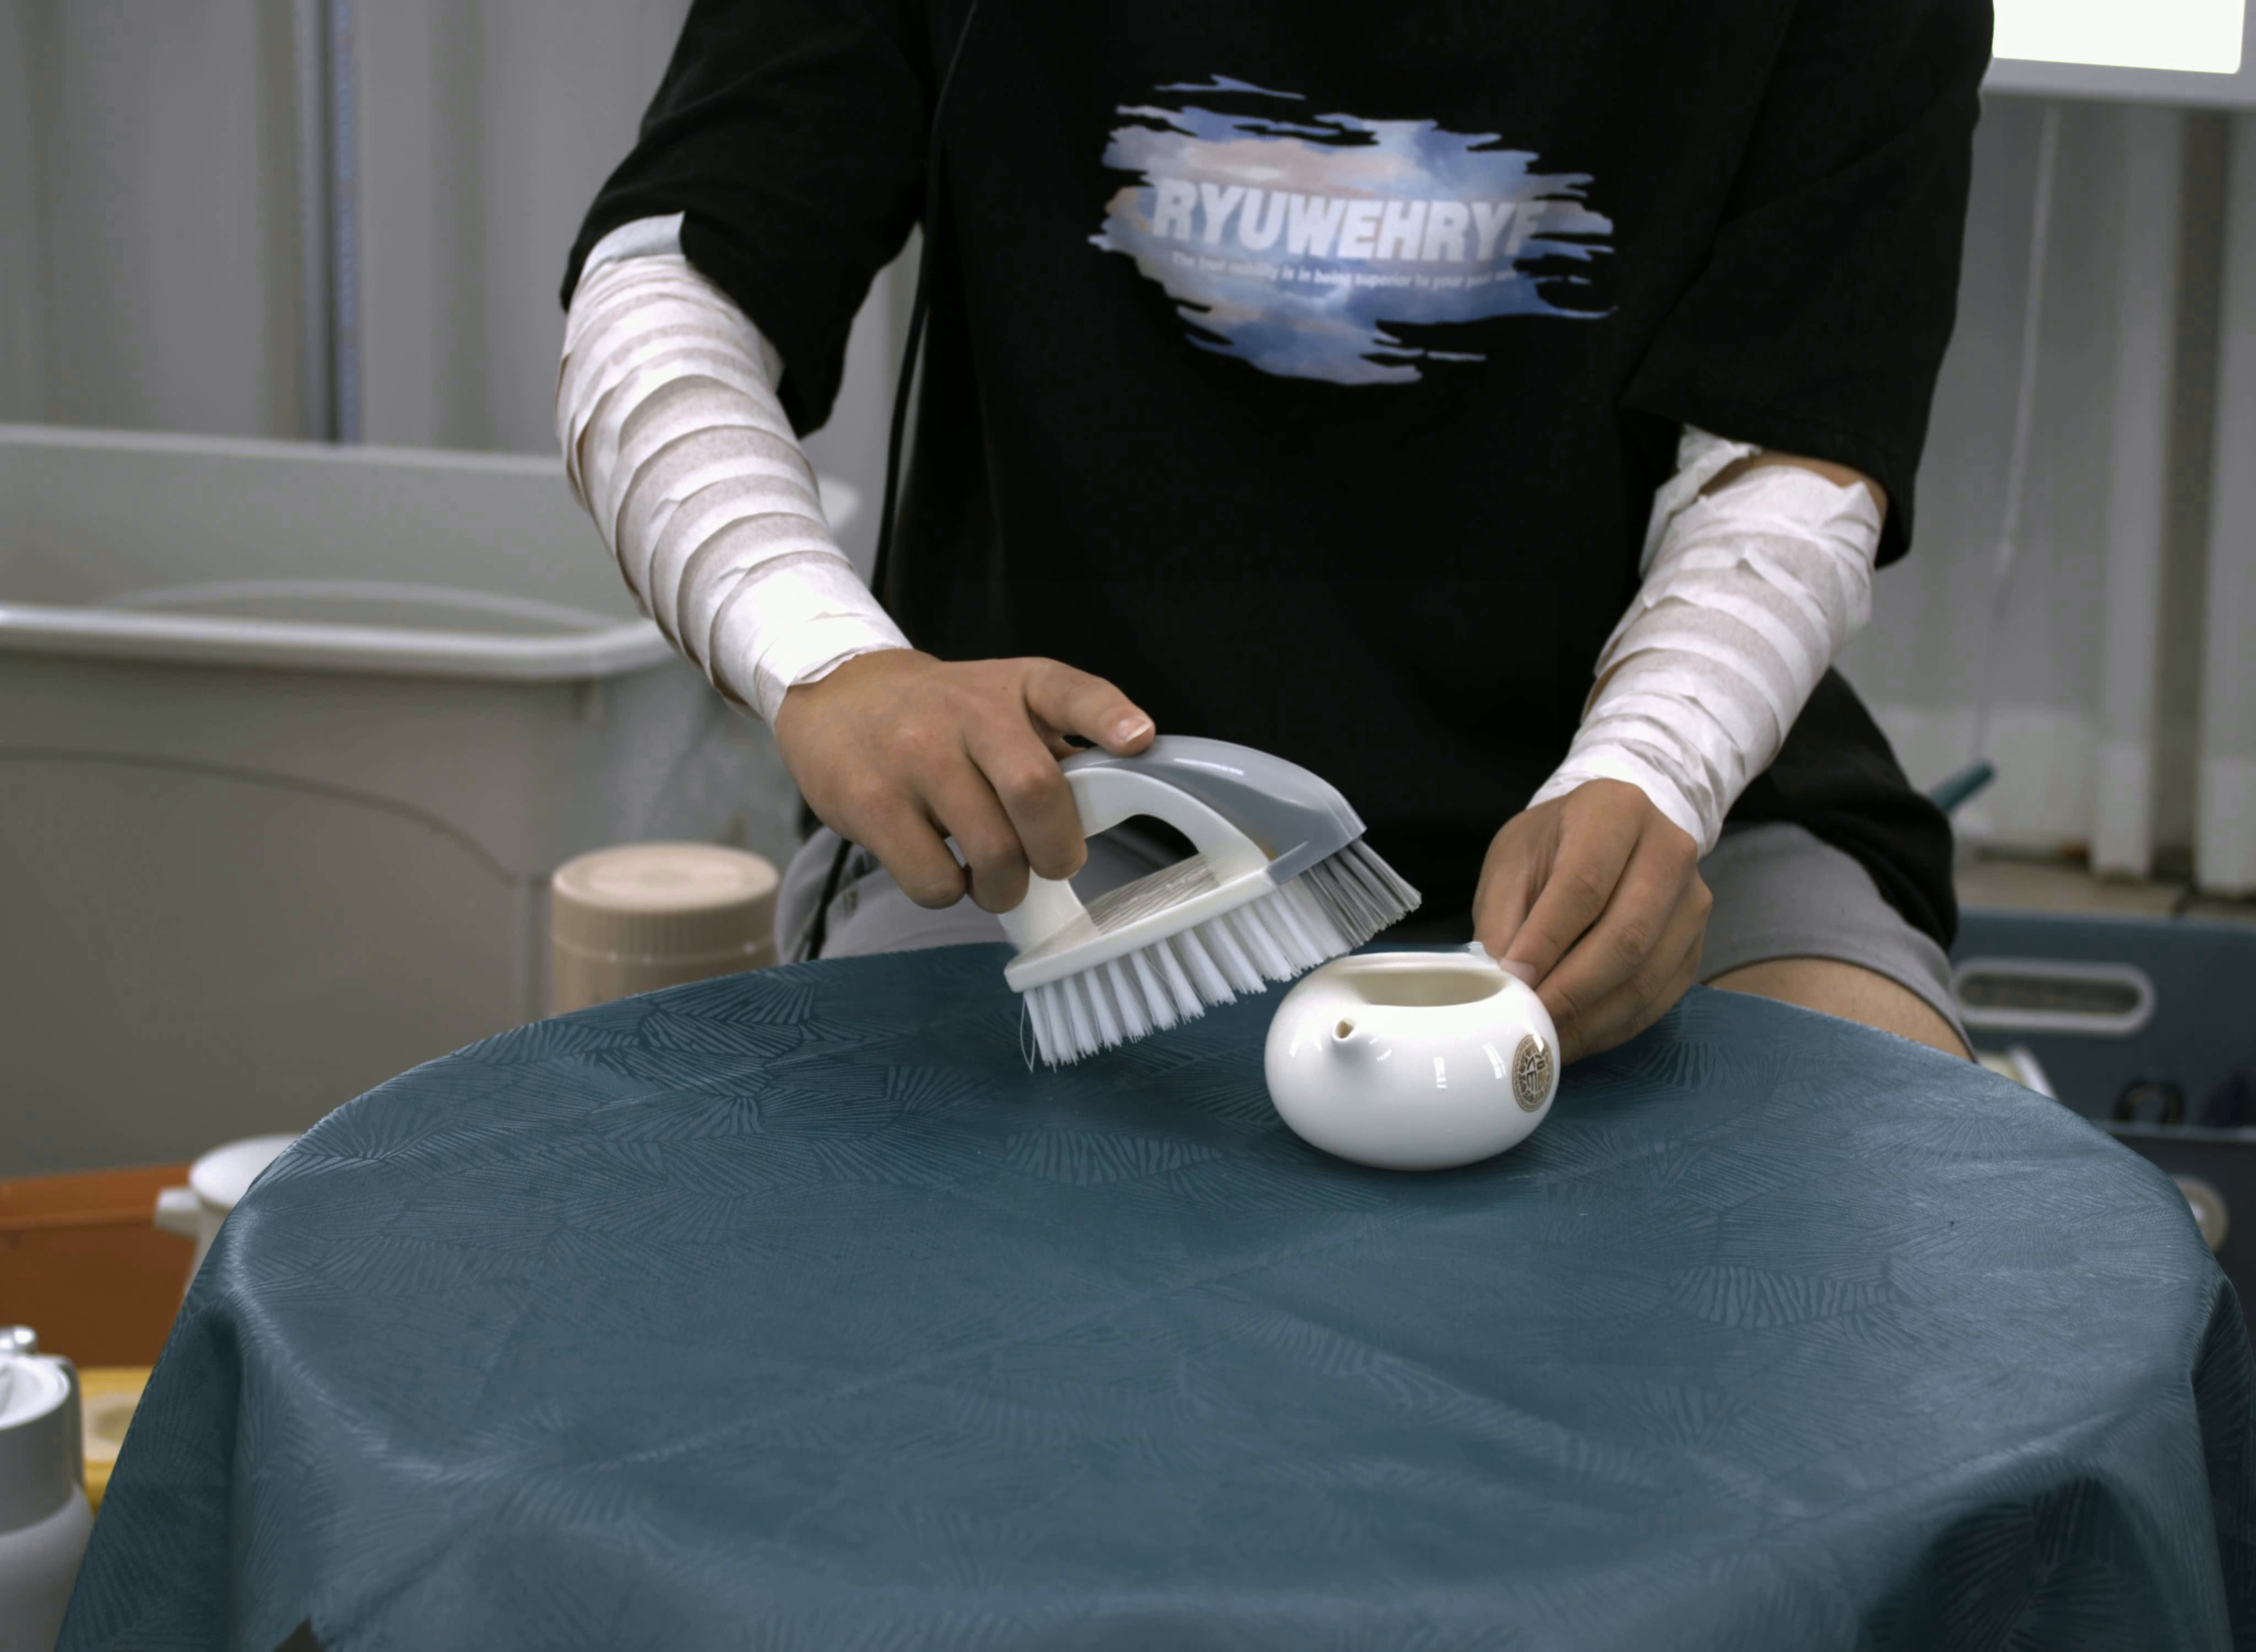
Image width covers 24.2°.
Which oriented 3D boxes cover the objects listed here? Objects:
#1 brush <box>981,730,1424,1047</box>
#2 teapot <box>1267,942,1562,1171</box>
[{"bbox_3d":[0.017,0.009,1.687,0.174,0.095,0.061,-19,18,50],"label":"brush"},{"bbox_3d":[0.095,0.072,1.672,0.092,0.057,0.127,3,14,25],"label":"teapot"}]
